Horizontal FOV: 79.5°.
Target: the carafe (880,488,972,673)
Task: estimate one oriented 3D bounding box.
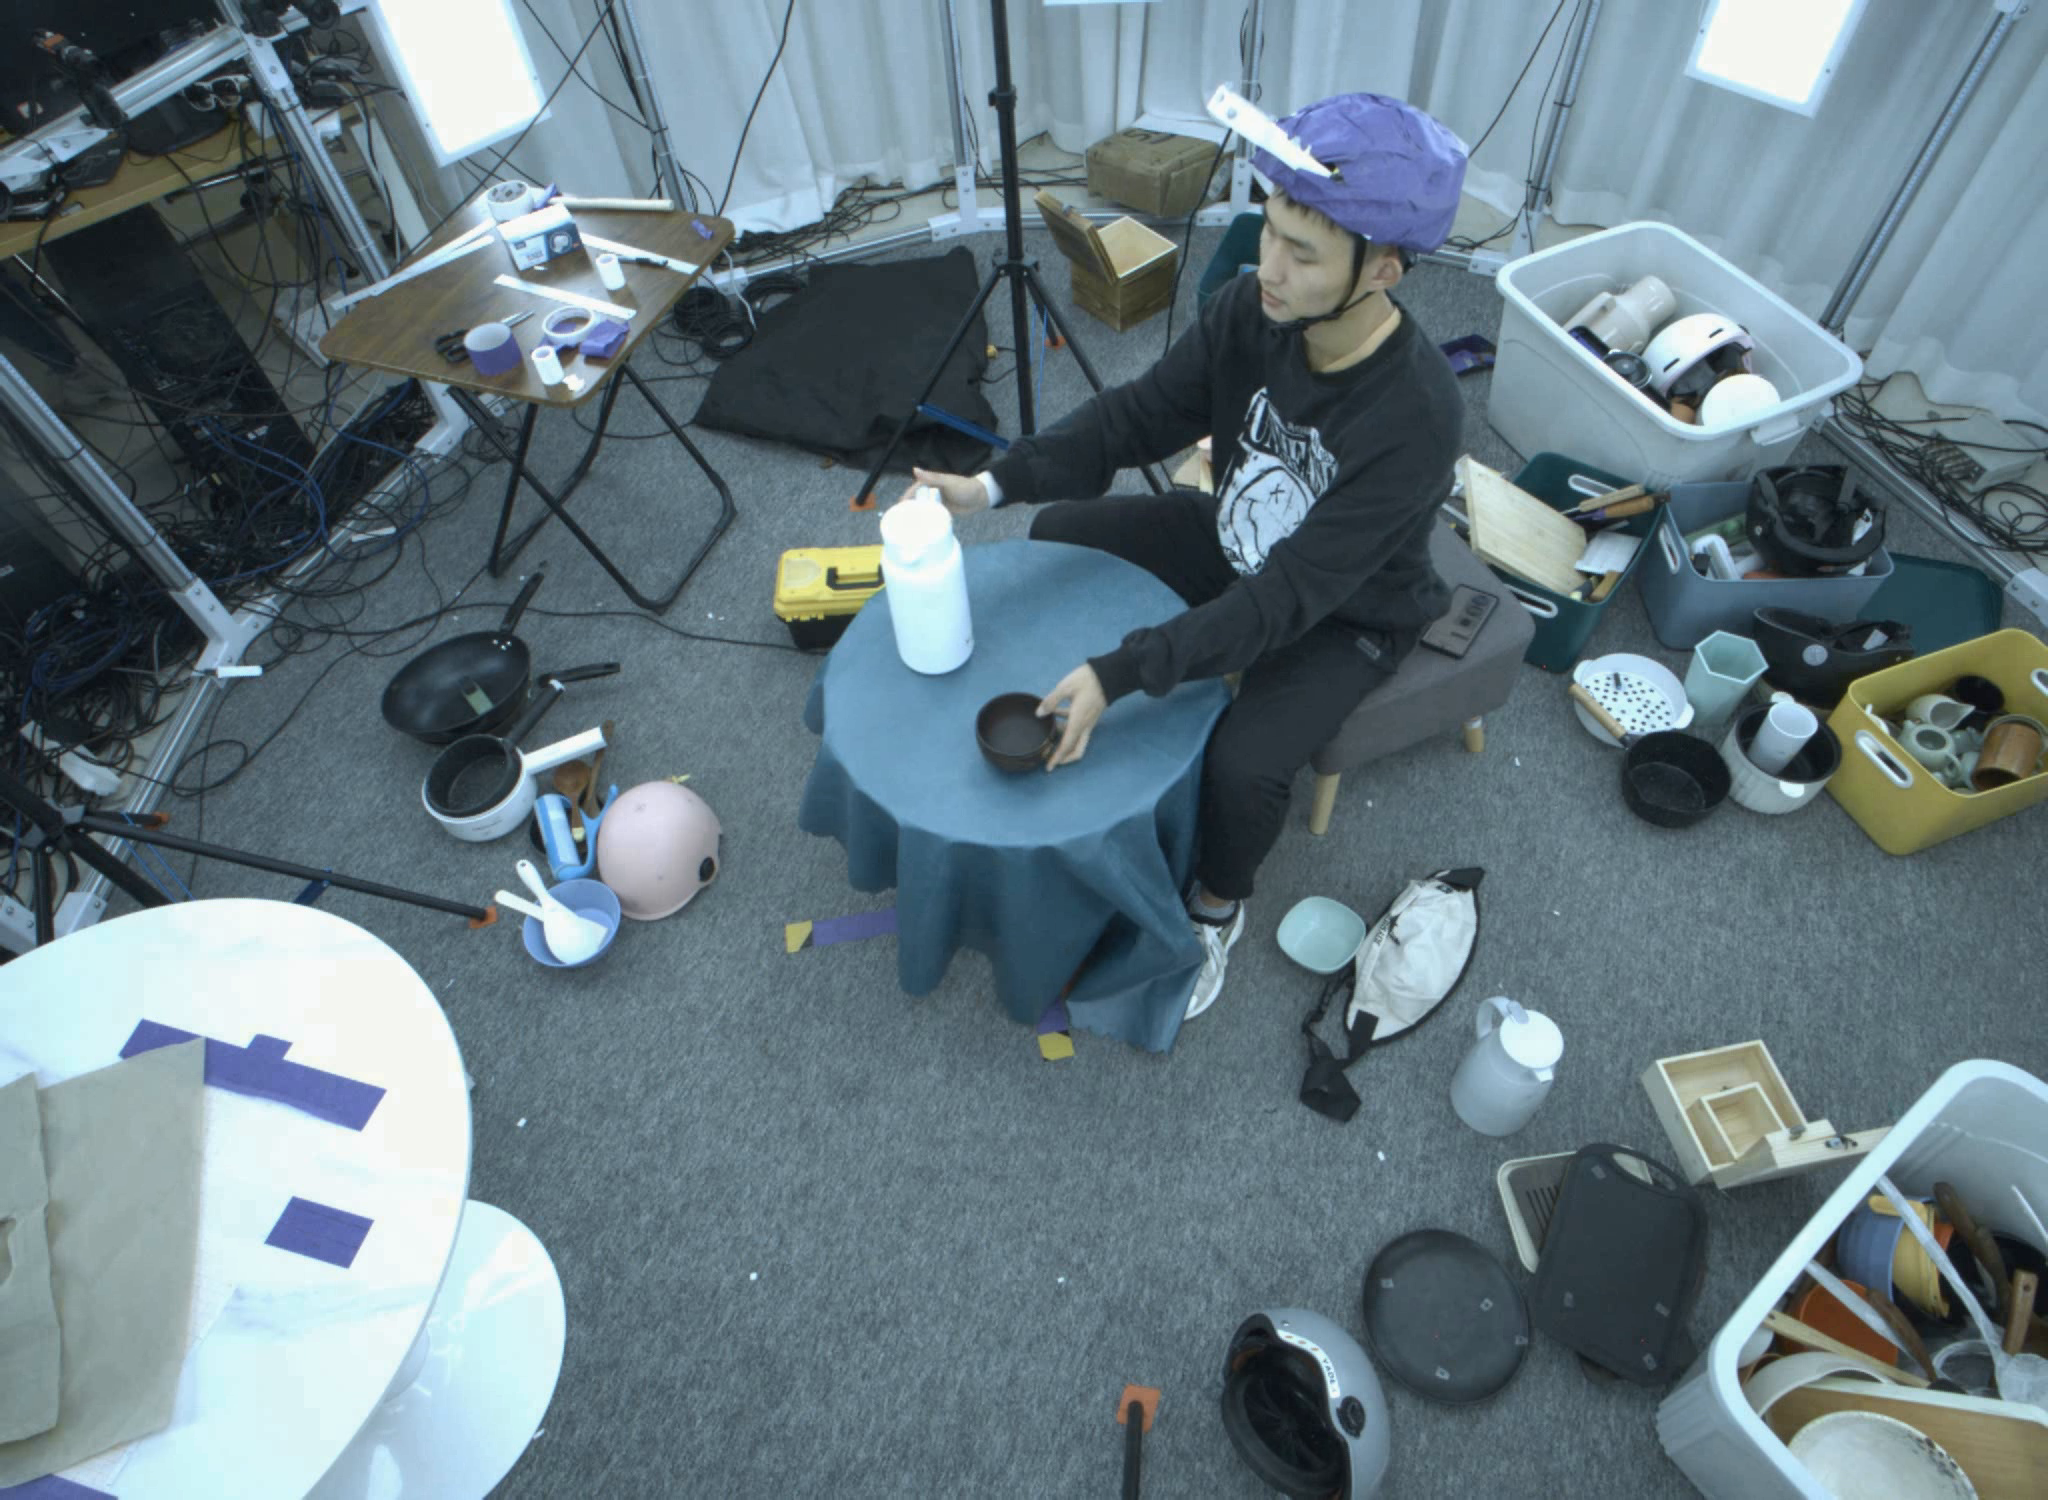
[{"bbox_3d":[-0.145,-0.252,1.803,0.123,0.272,0.171,1,54,7],"label":"carafe"}]

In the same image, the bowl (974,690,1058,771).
[{"bbox_3d":[-0.011,-0.020,1.752,0.118,0.070,0.117,-1,54,2],"label":"bowl"}]
